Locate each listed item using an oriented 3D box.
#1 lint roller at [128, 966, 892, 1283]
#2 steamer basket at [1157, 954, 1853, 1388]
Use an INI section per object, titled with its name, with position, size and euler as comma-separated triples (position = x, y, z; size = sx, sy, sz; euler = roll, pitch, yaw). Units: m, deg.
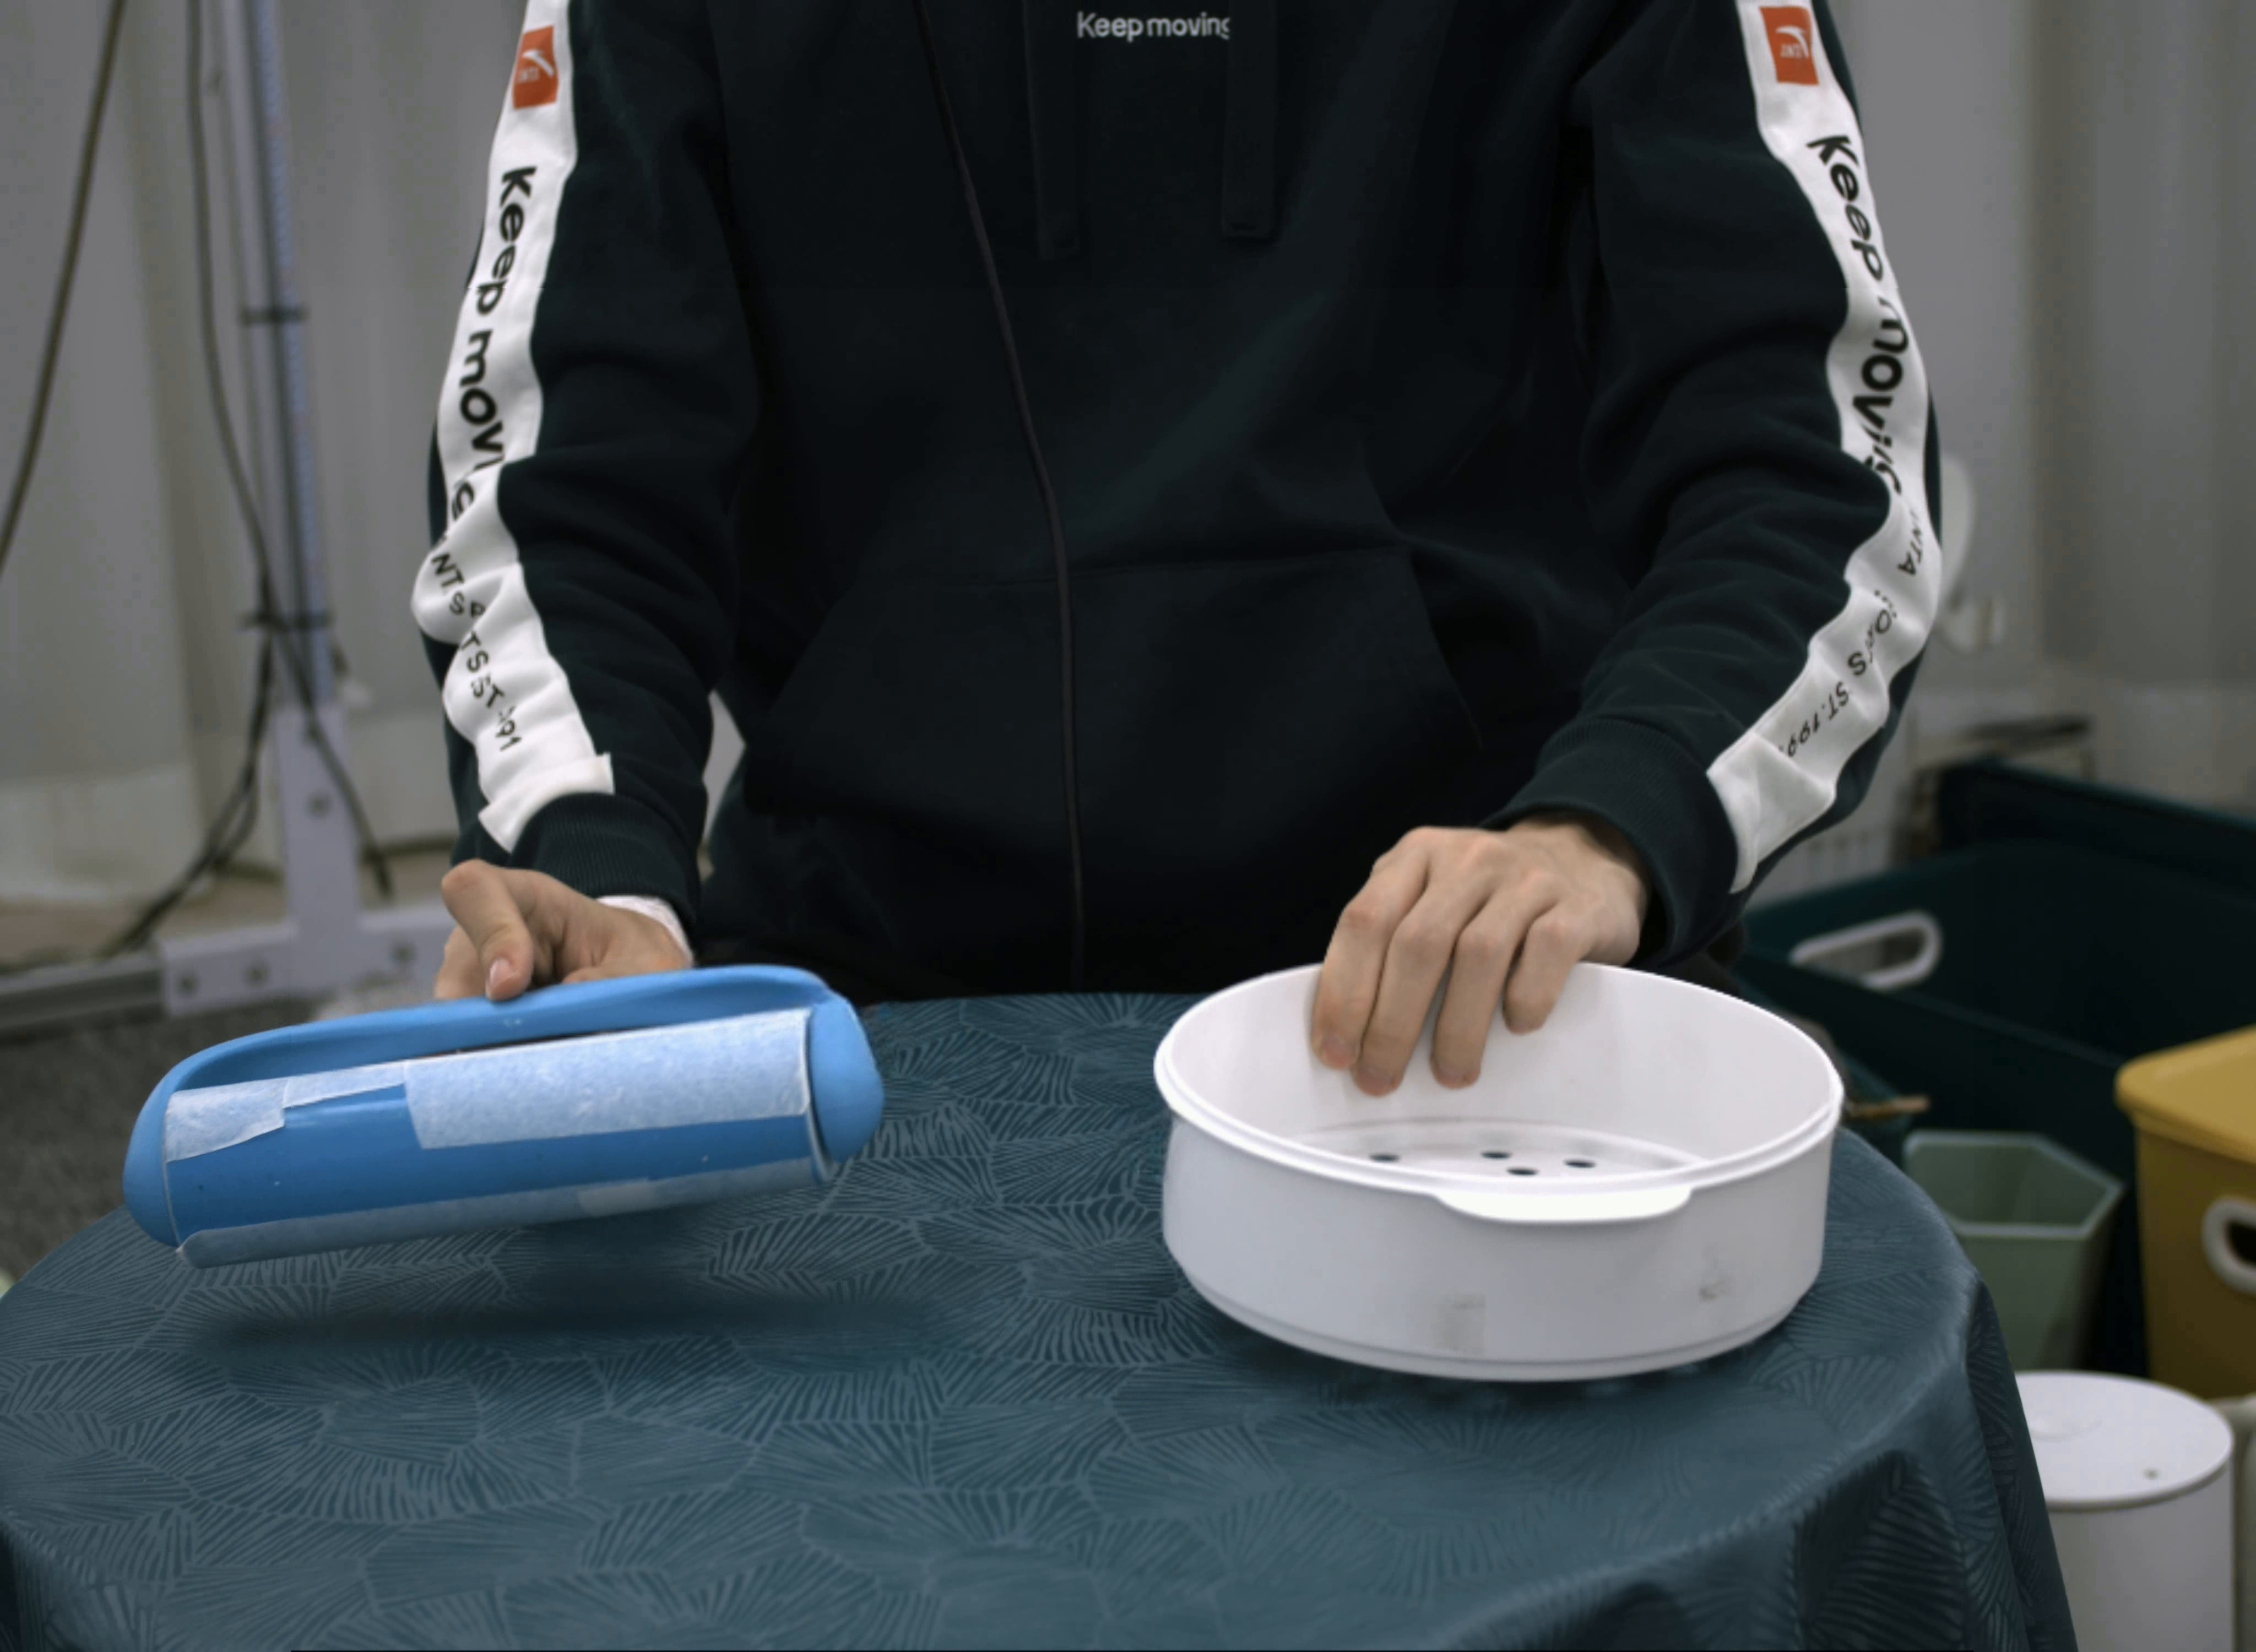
[lint roller]
position = -0.184, 0.083, 1.674
size = 0.228, 0.068, 0.181
euler = -11, 9, 0
[steamer basket]
position = 0.107, 0.100, 1.589
size = 0.201, 0.069, 0.232
euler = 1, 17, -8
